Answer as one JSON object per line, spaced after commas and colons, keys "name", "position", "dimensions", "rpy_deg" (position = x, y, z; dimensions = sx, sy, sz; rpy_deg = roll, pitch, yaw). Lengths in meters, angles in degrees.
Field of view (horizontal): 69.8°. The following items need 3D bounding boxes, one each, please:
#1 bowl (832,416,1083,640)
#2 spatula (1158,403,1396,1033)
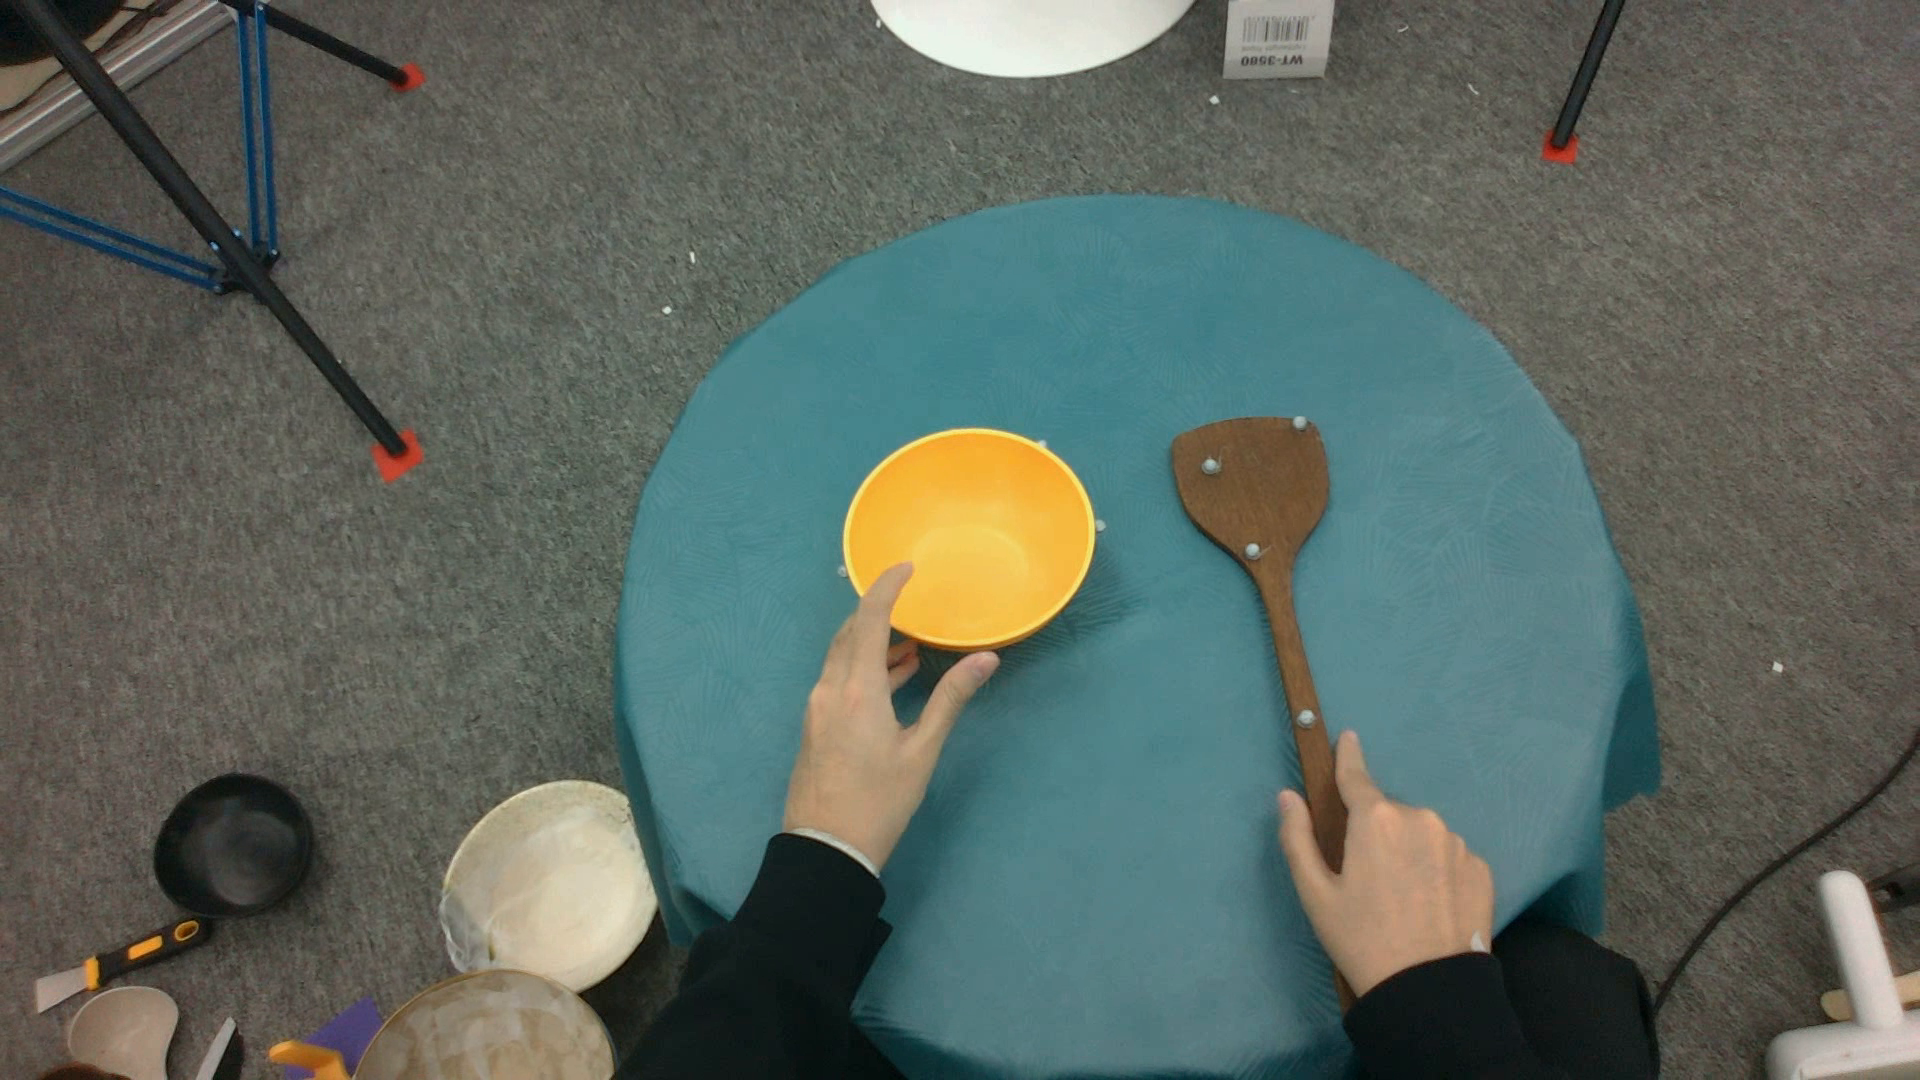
{"name": "bowl", "position": [0.001, 0.002, 0.811], "dimensions": [0.145, 0.060, 0.146], "rpy_deg": [-3, 61, 5]}
{"name": "spatula", "position": [0.184, 0.076, 0.769], "dimensions": [0.096, 0.016, 0.387], "rpy_deg": [-6, 56, 2]}
